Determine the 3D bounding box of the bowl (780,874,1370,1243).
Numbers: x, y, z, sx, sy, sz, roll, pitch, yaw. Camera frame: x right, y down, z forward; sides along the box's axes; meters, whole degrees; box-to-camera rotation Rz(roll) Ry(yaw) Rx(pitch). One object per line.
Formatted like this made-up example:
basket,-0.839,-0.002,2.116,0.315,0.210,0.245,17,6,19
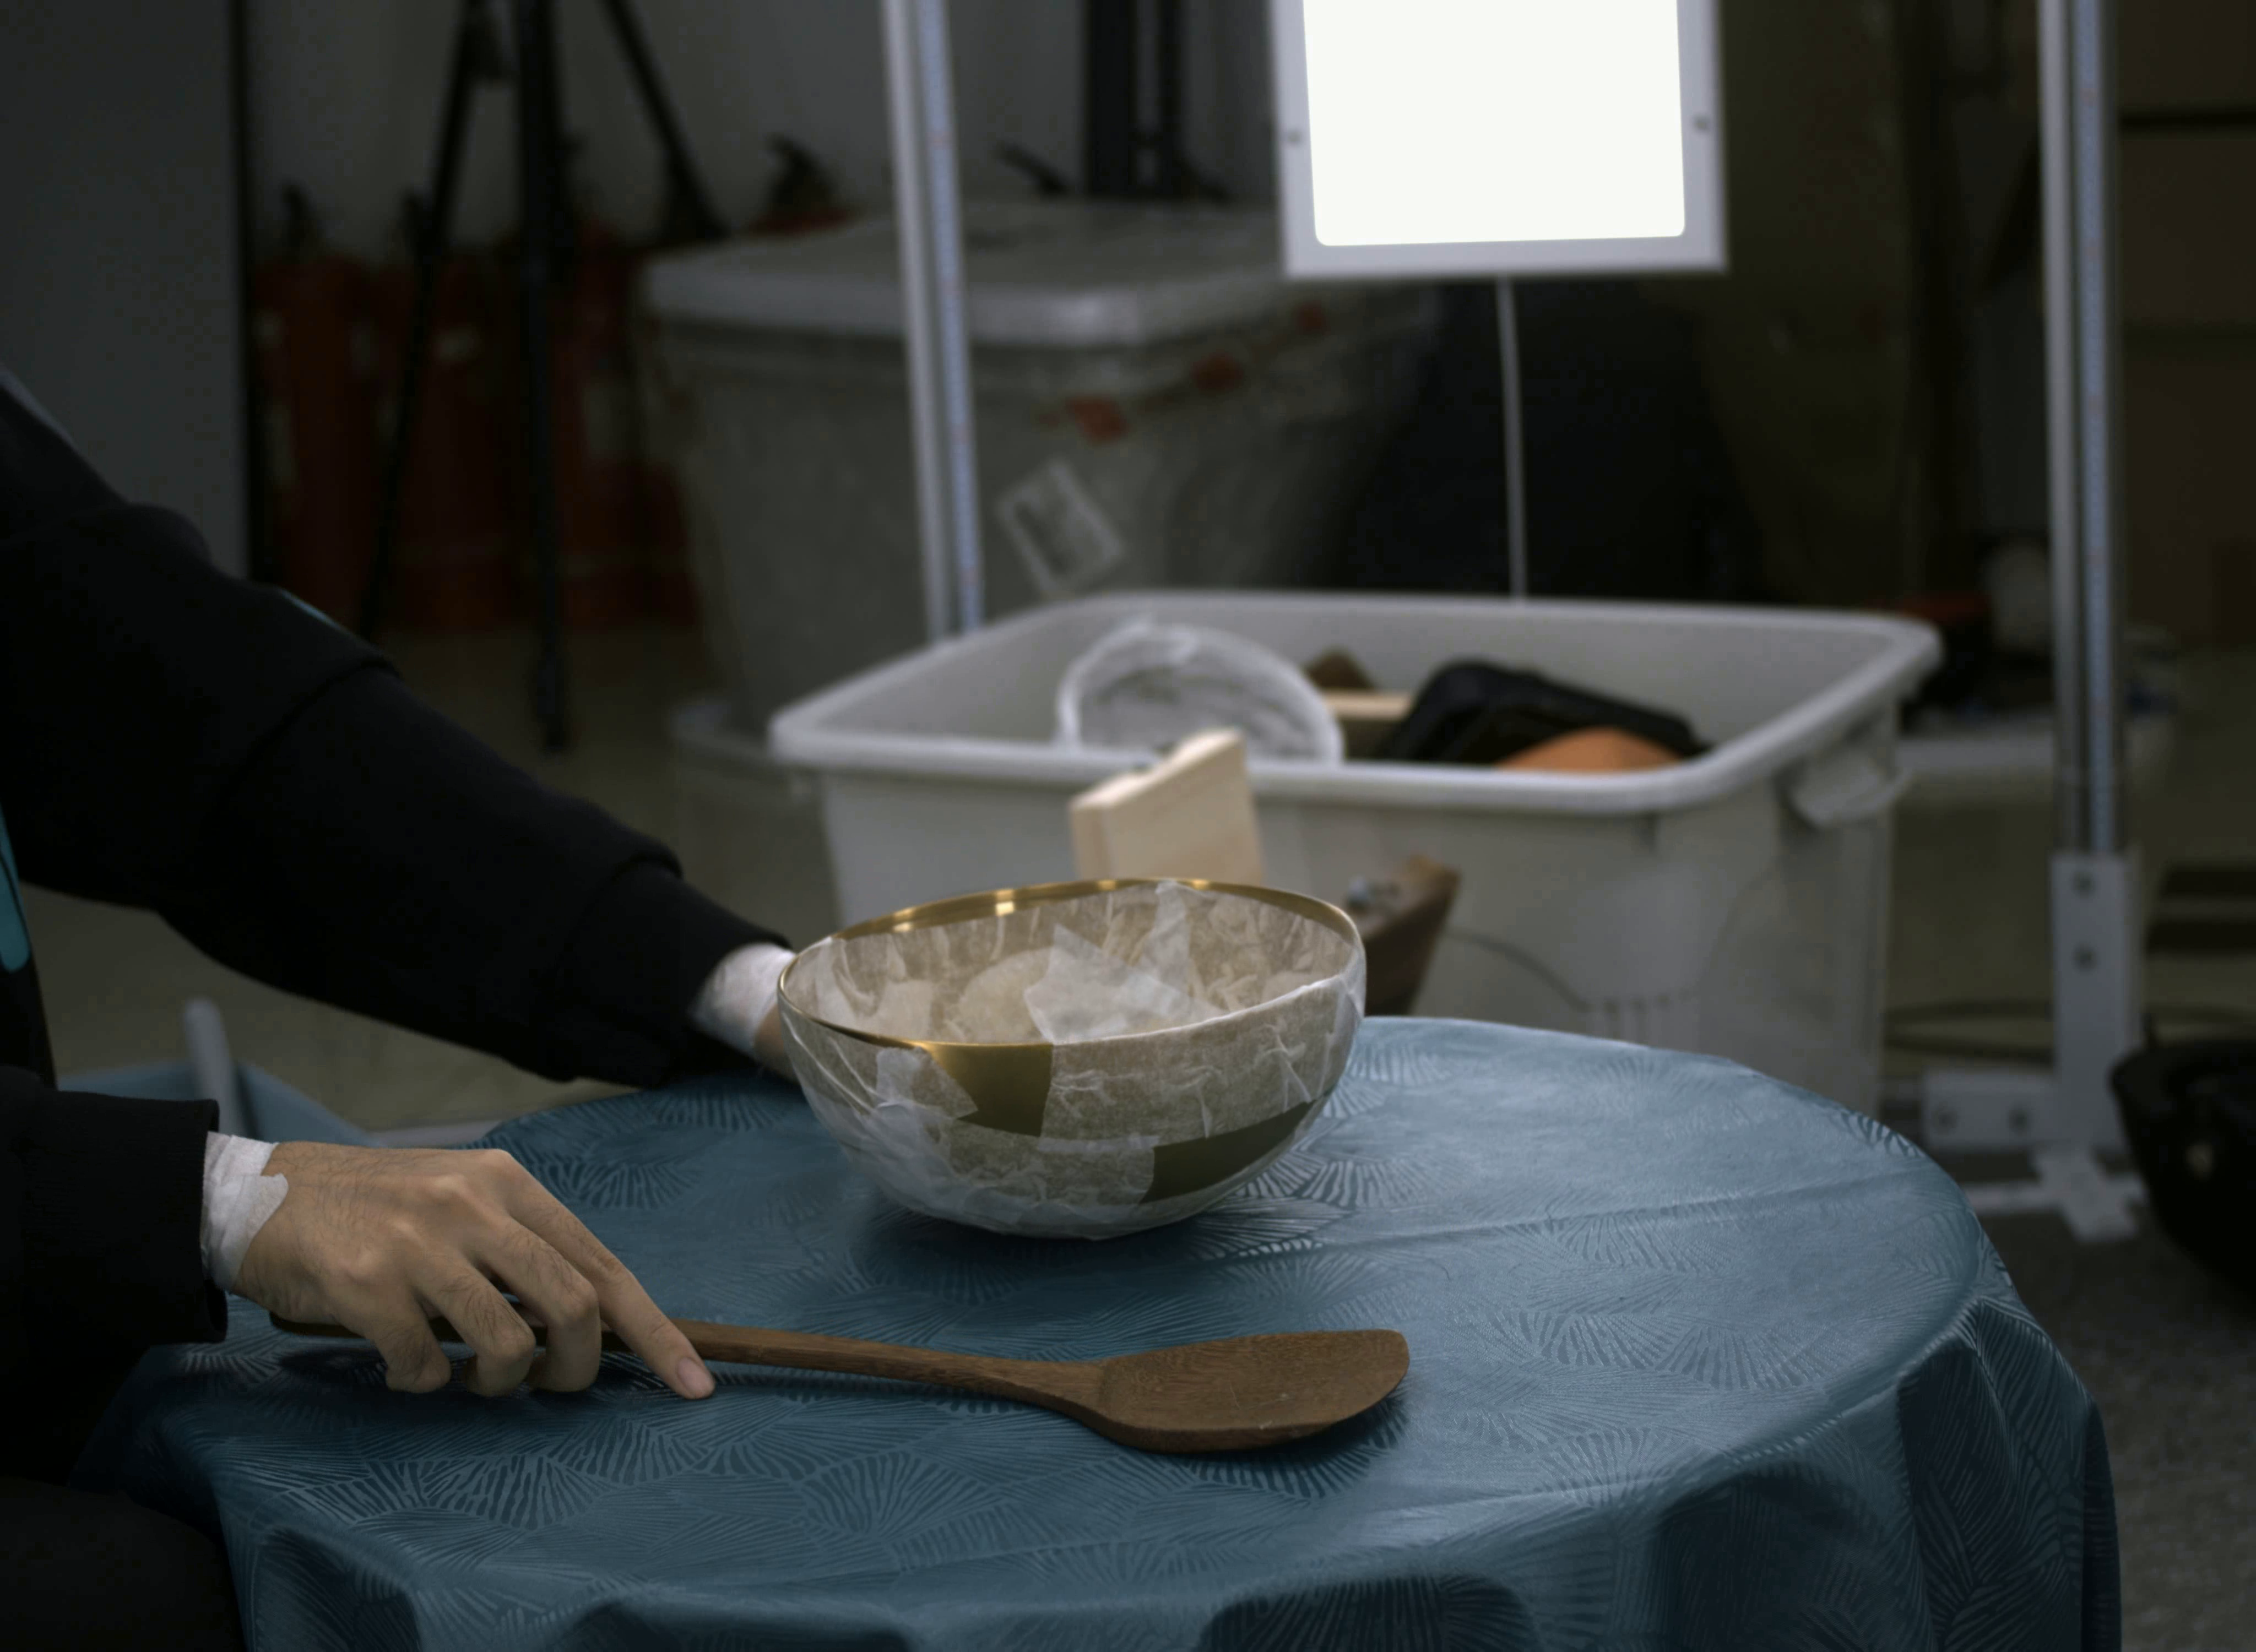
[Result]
bowl,-0.016,0.086,1.875,0.214,0.095,0.214,-7,14,0

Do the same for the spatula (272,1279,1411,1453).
spatula,-0.099,0.164,1.731,0.391,0.016,0.094,3,16,23
